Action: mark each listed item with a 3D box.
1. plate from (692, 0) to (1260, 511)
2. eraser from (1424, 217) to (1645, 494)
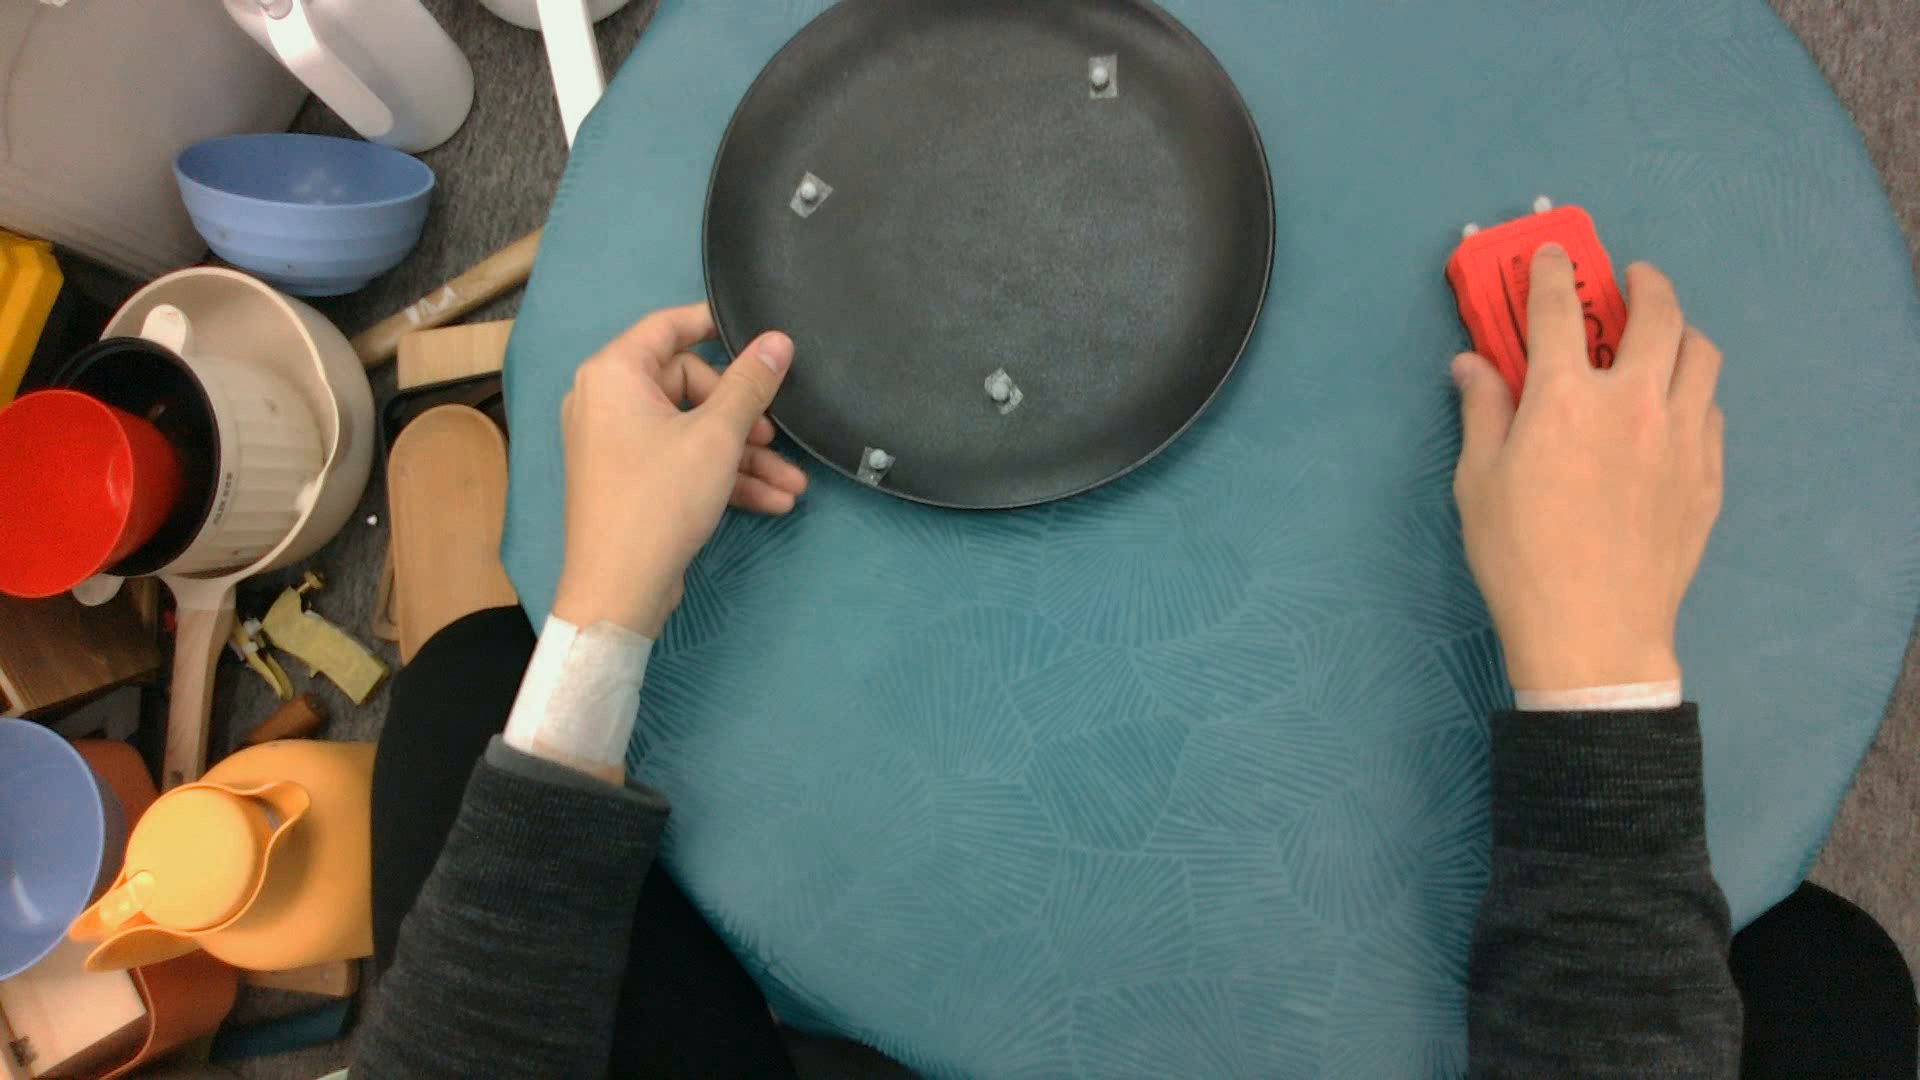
[{"bbox_3d":[0.006,-0.130,0.598,0.244,0.023,0.245,-1,79,3],"label":"plate"},{"bbox_3d":[0.238,-0.077,0.574,0.059,0.023,0.108,-16,79,1],"label":"eraser"}]
